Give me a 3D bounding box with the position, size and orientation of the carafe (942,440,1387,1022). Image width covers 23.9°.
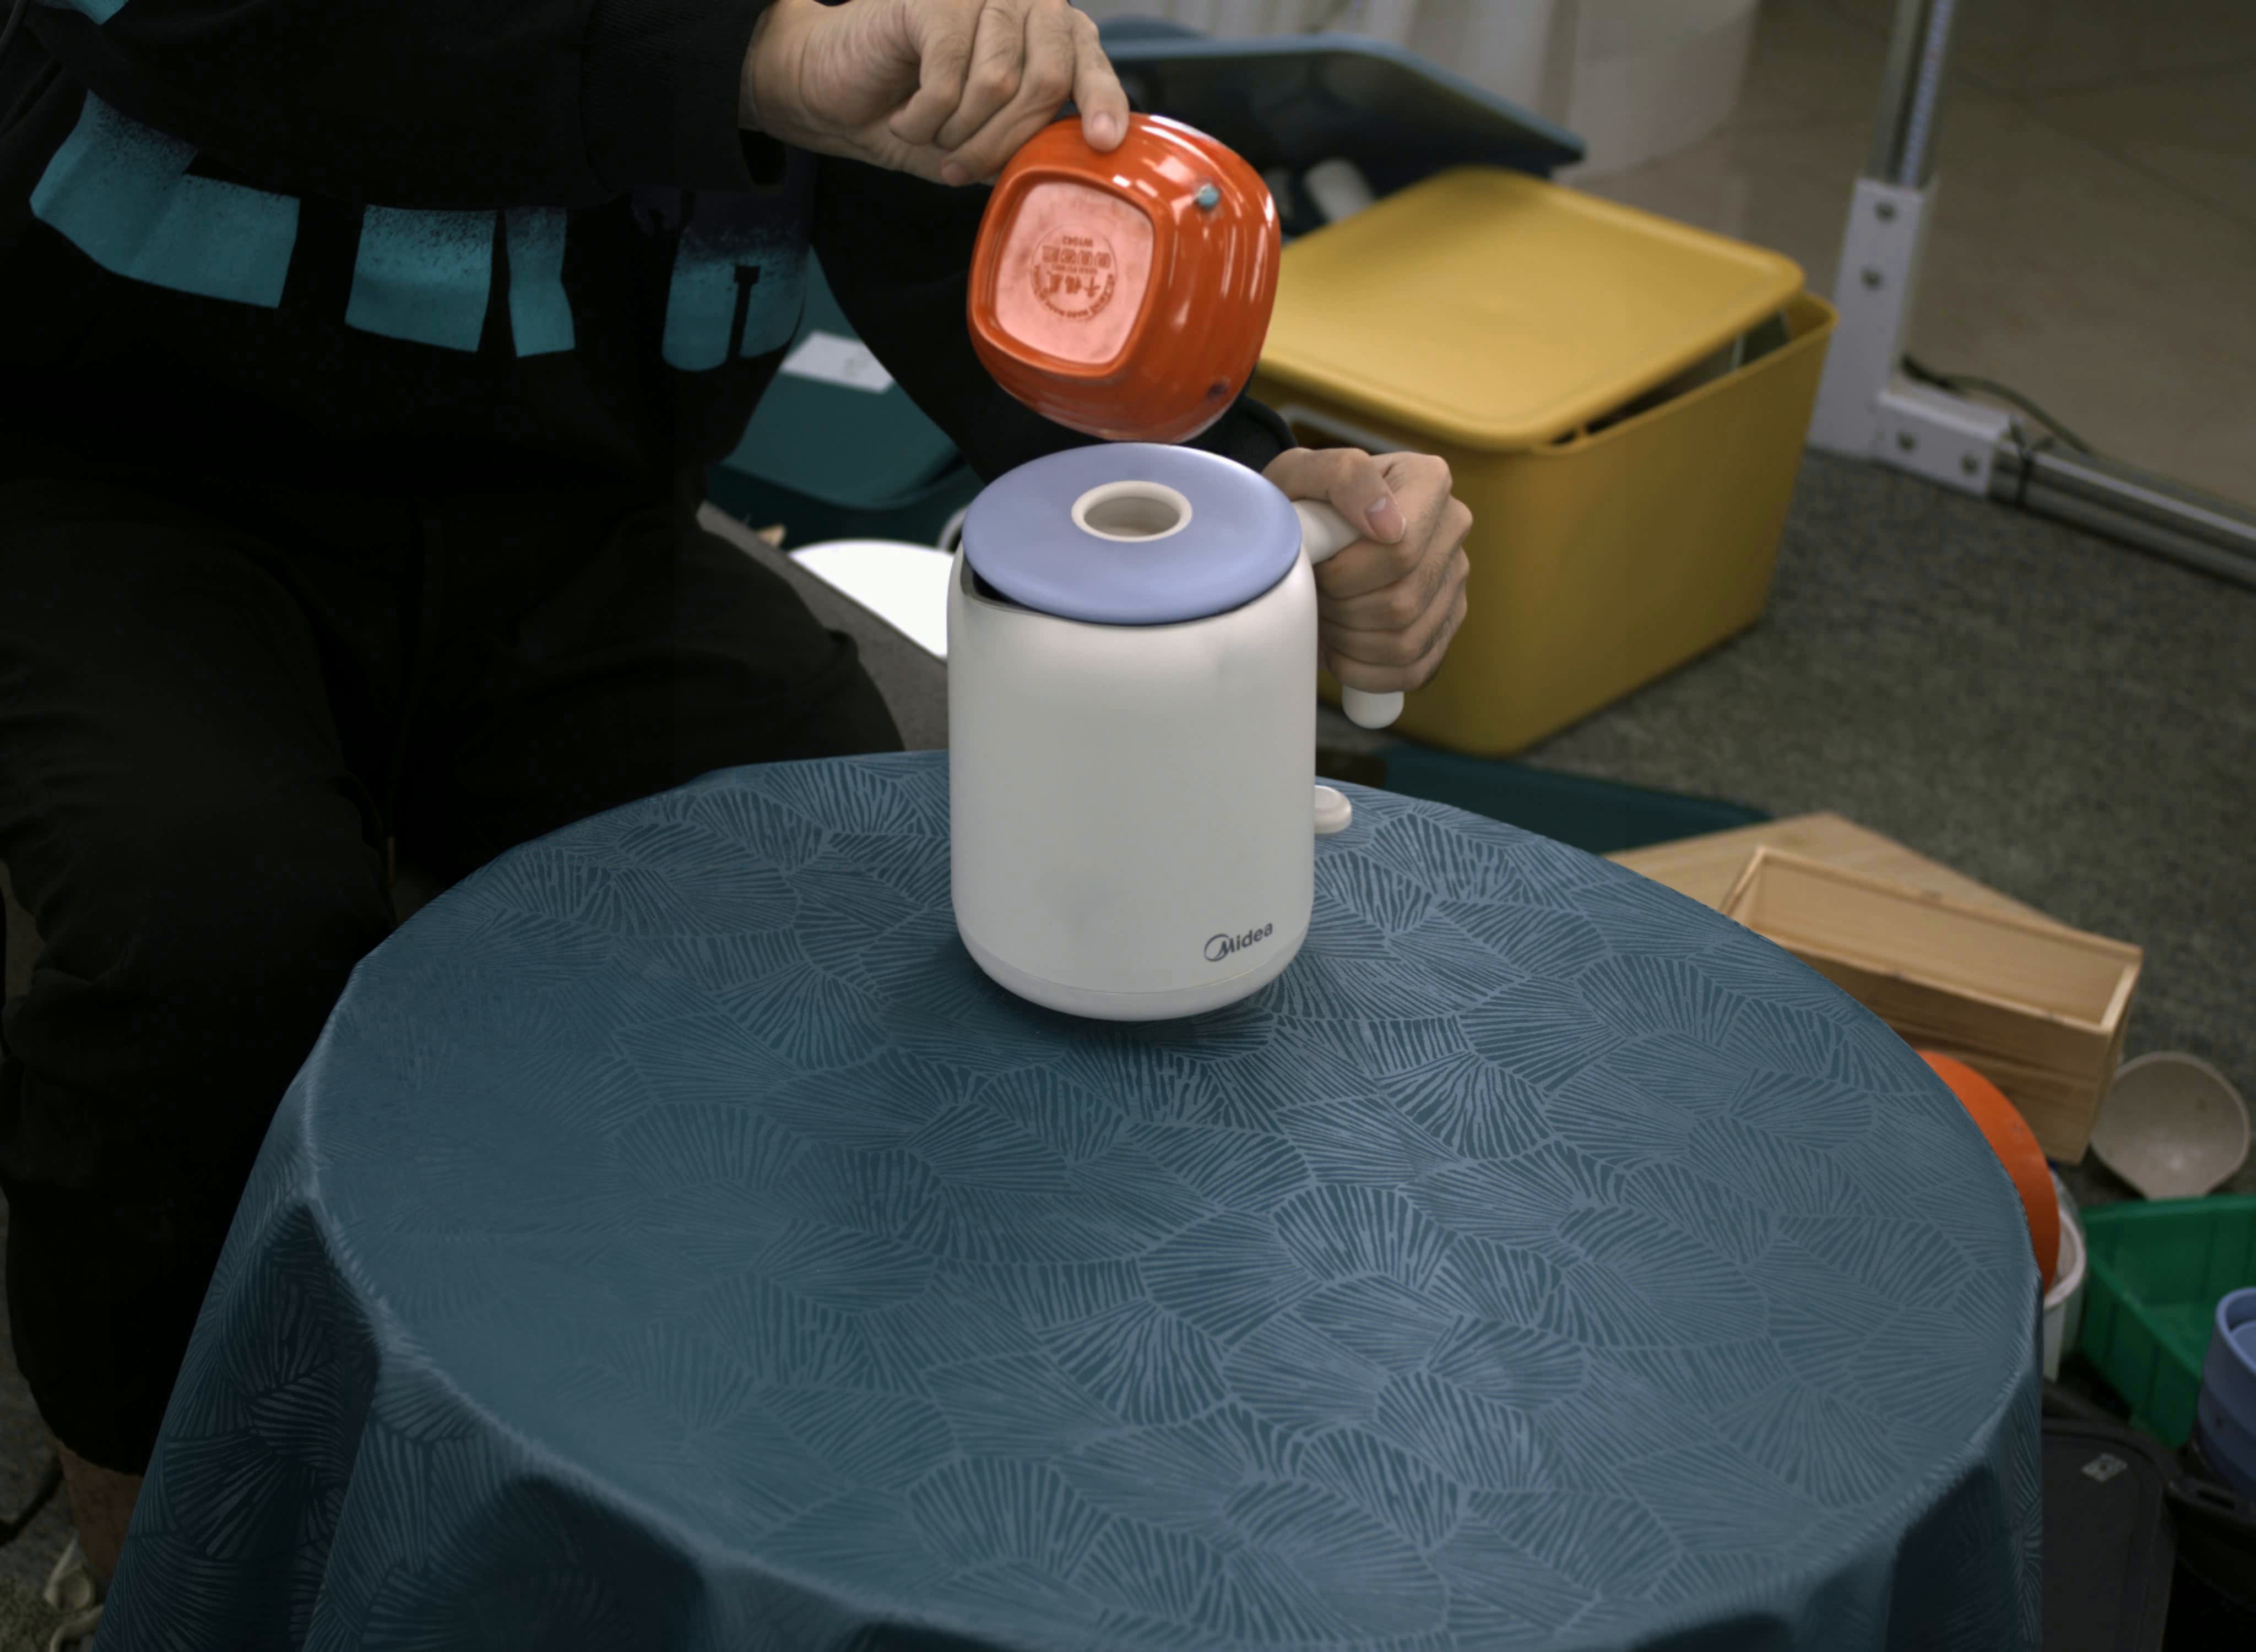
[{"bbox_3d":[0.019,-0.041,1.899,0.190,0.182,0.133,-20,38,-32],"label":"carafe"}]

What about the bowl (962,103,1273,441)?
[{"bbox_3d":[-0.013,-0.185,1.777,0.119,0.119,0.051,22,14,27],"label":"bowl"}]
